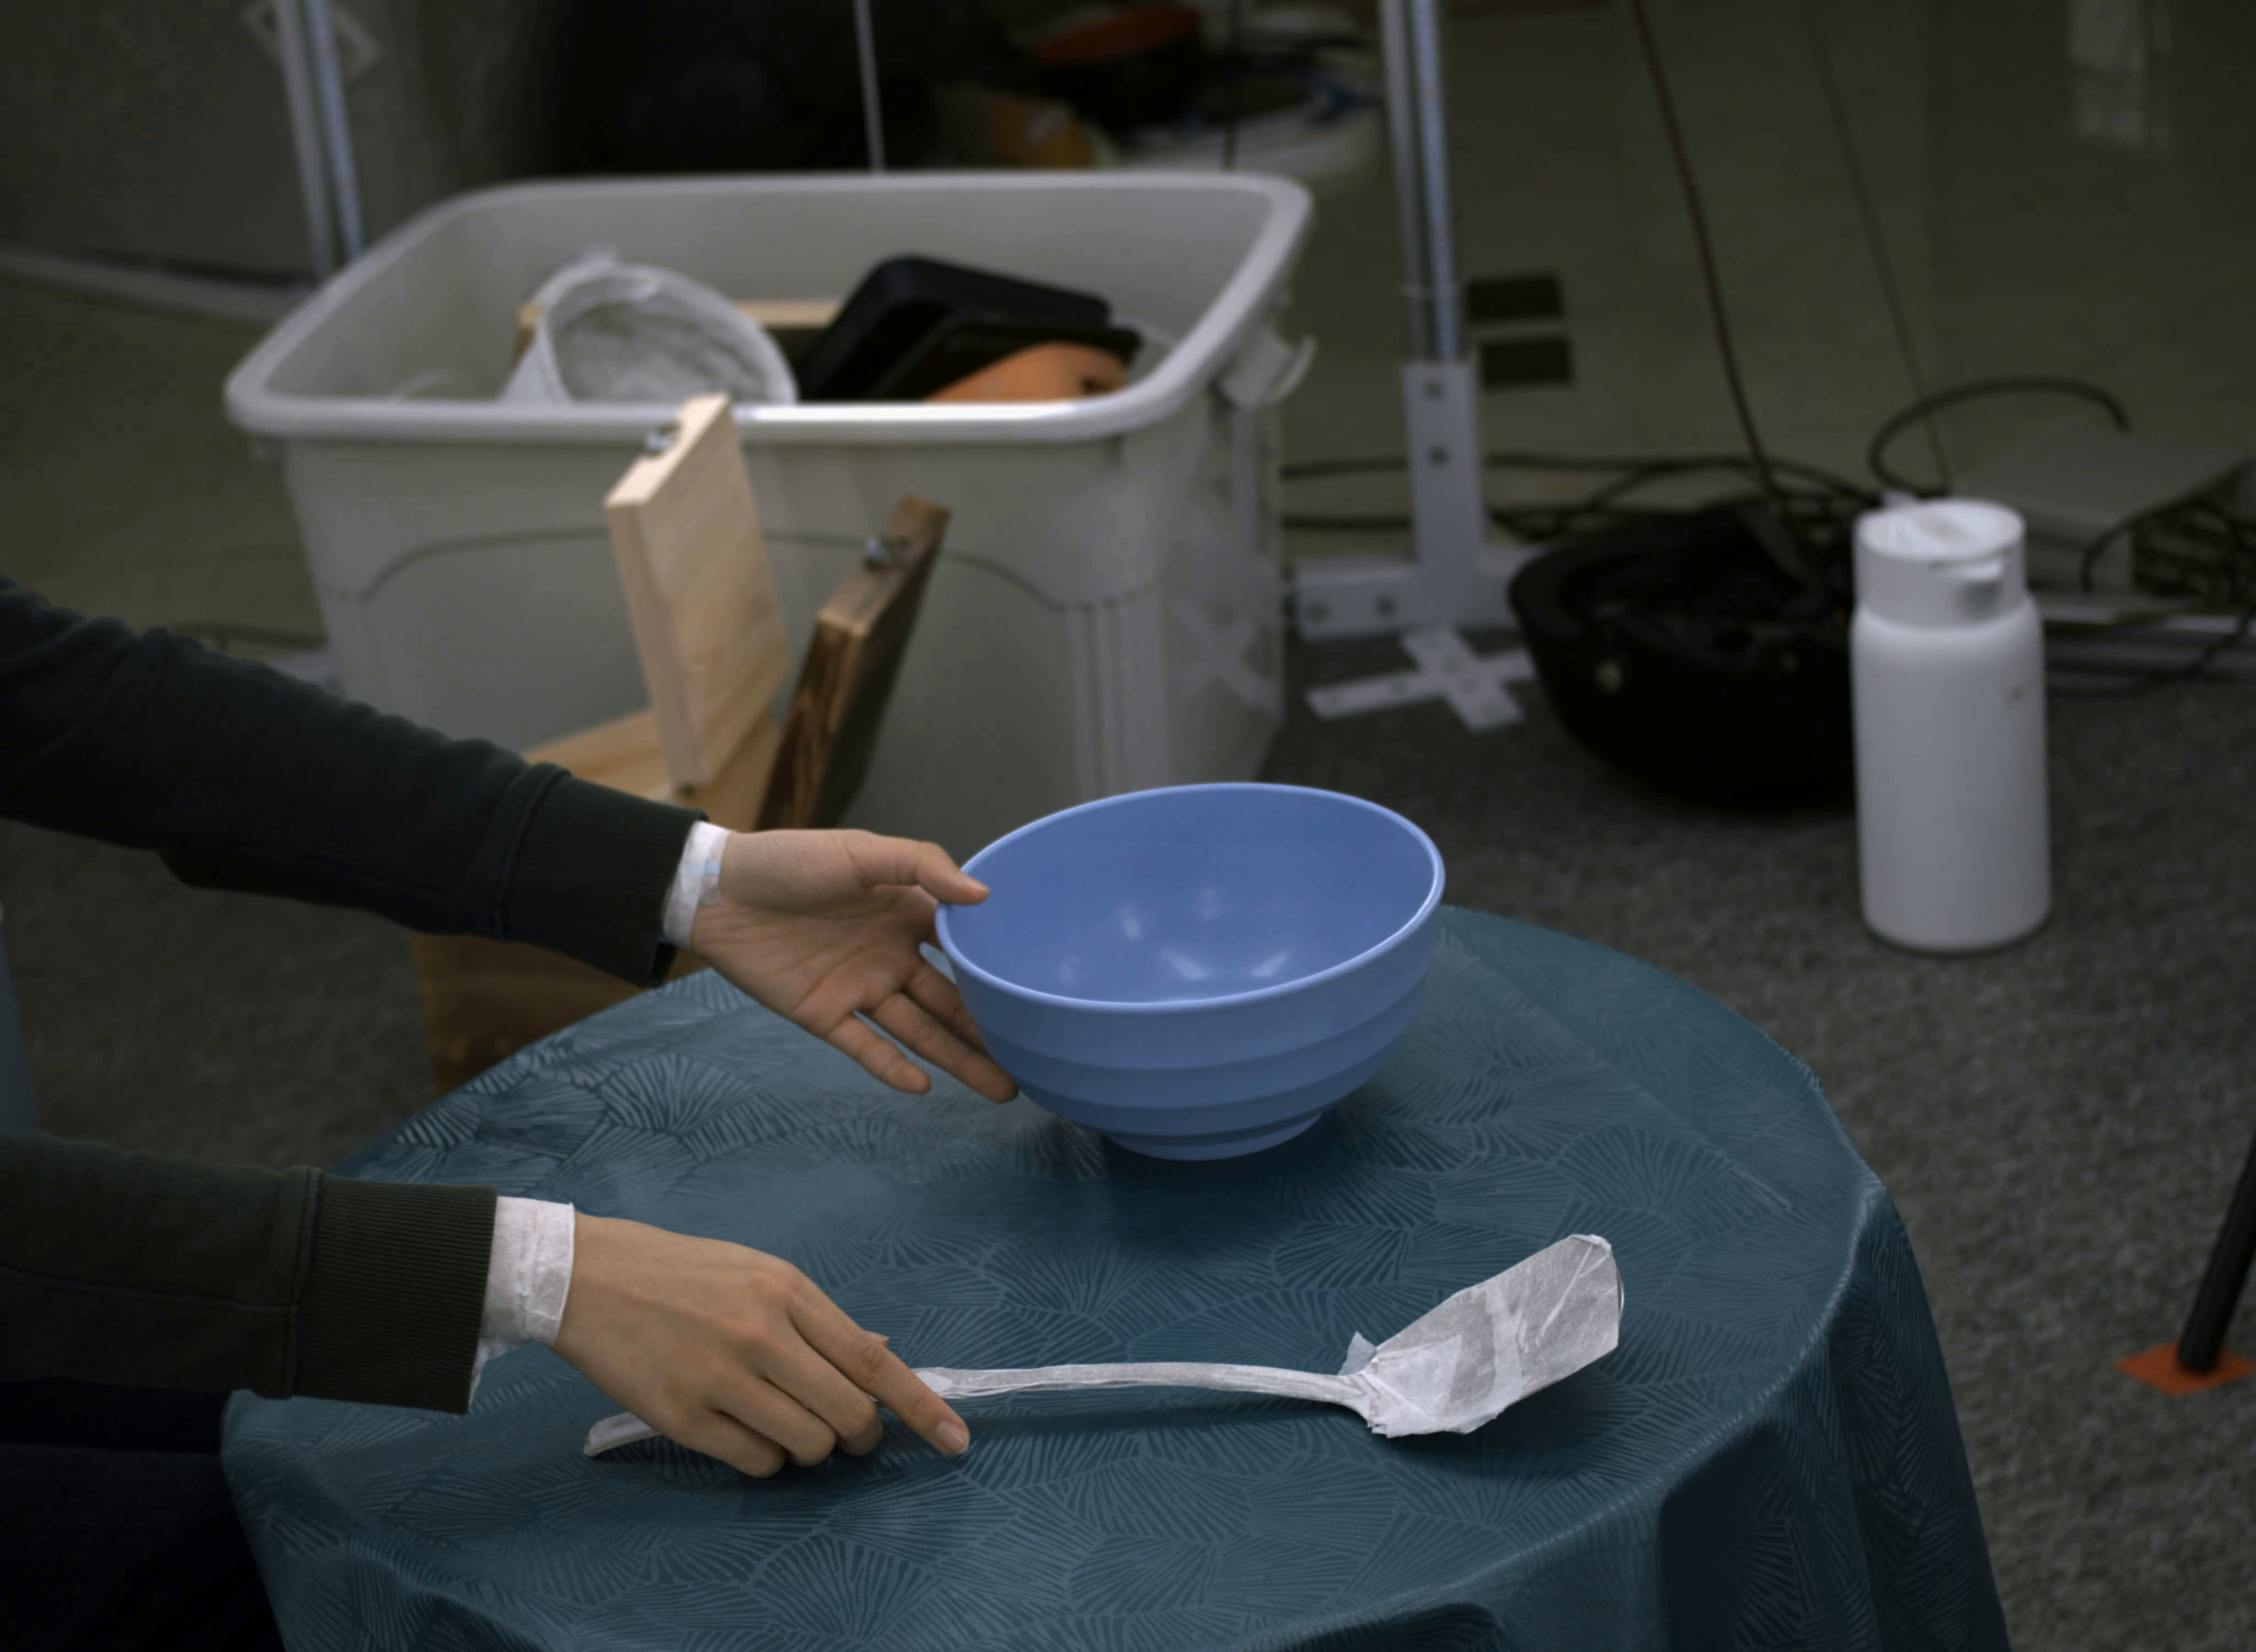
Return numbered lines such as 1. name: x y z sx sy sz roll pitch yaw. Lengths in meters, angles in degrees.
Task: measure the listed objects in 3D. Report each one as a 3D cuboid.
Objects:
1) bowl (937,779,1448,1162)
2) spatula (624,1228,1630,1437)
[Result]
1. bowl: 0.028 0.067 2.187 0.196 0.097 0.193 -5 26 2
2. spatula: -0.004 0.189 2.001 0.364 0.045 0.097 -3 27 7
